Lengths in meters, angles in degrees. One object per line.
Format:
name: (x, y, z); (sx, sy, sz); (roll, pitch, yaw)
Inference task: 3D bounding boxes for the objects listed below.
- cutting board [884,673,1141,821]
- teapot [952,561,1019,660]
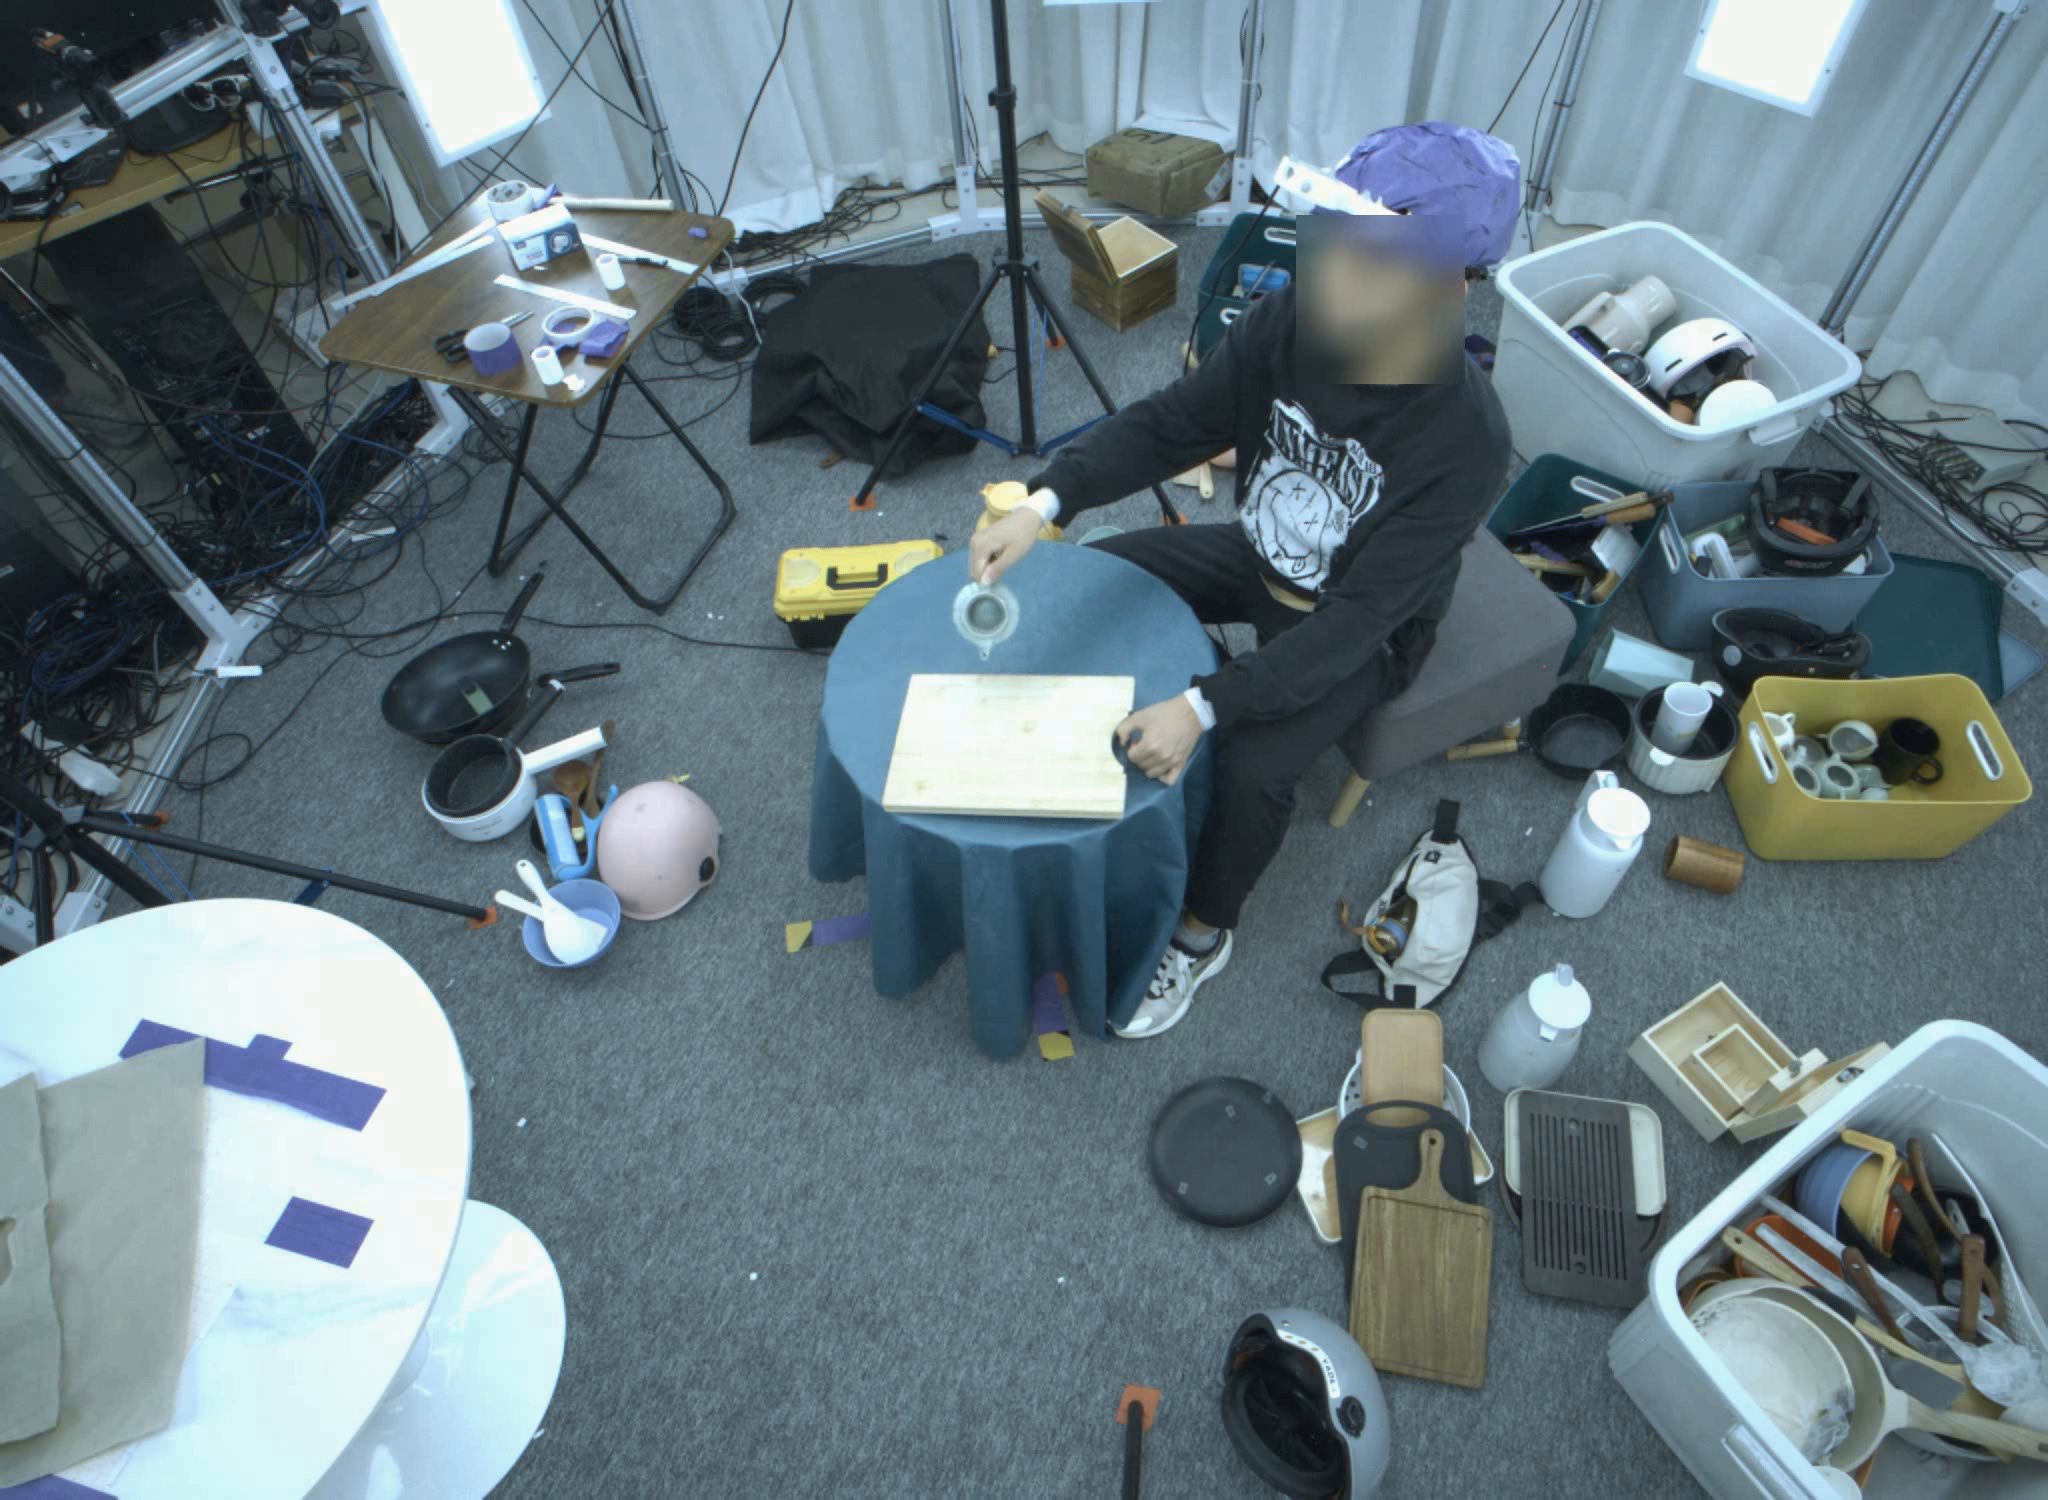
cutting board: (-0.012, -0.010, 1.766); (0.347, 0.024, 0.248); (1, 55, 7)
teapot: (-0.056, -0.200, 1.741); (0.096, 0.137, 0.061); (0, 13, 0)
